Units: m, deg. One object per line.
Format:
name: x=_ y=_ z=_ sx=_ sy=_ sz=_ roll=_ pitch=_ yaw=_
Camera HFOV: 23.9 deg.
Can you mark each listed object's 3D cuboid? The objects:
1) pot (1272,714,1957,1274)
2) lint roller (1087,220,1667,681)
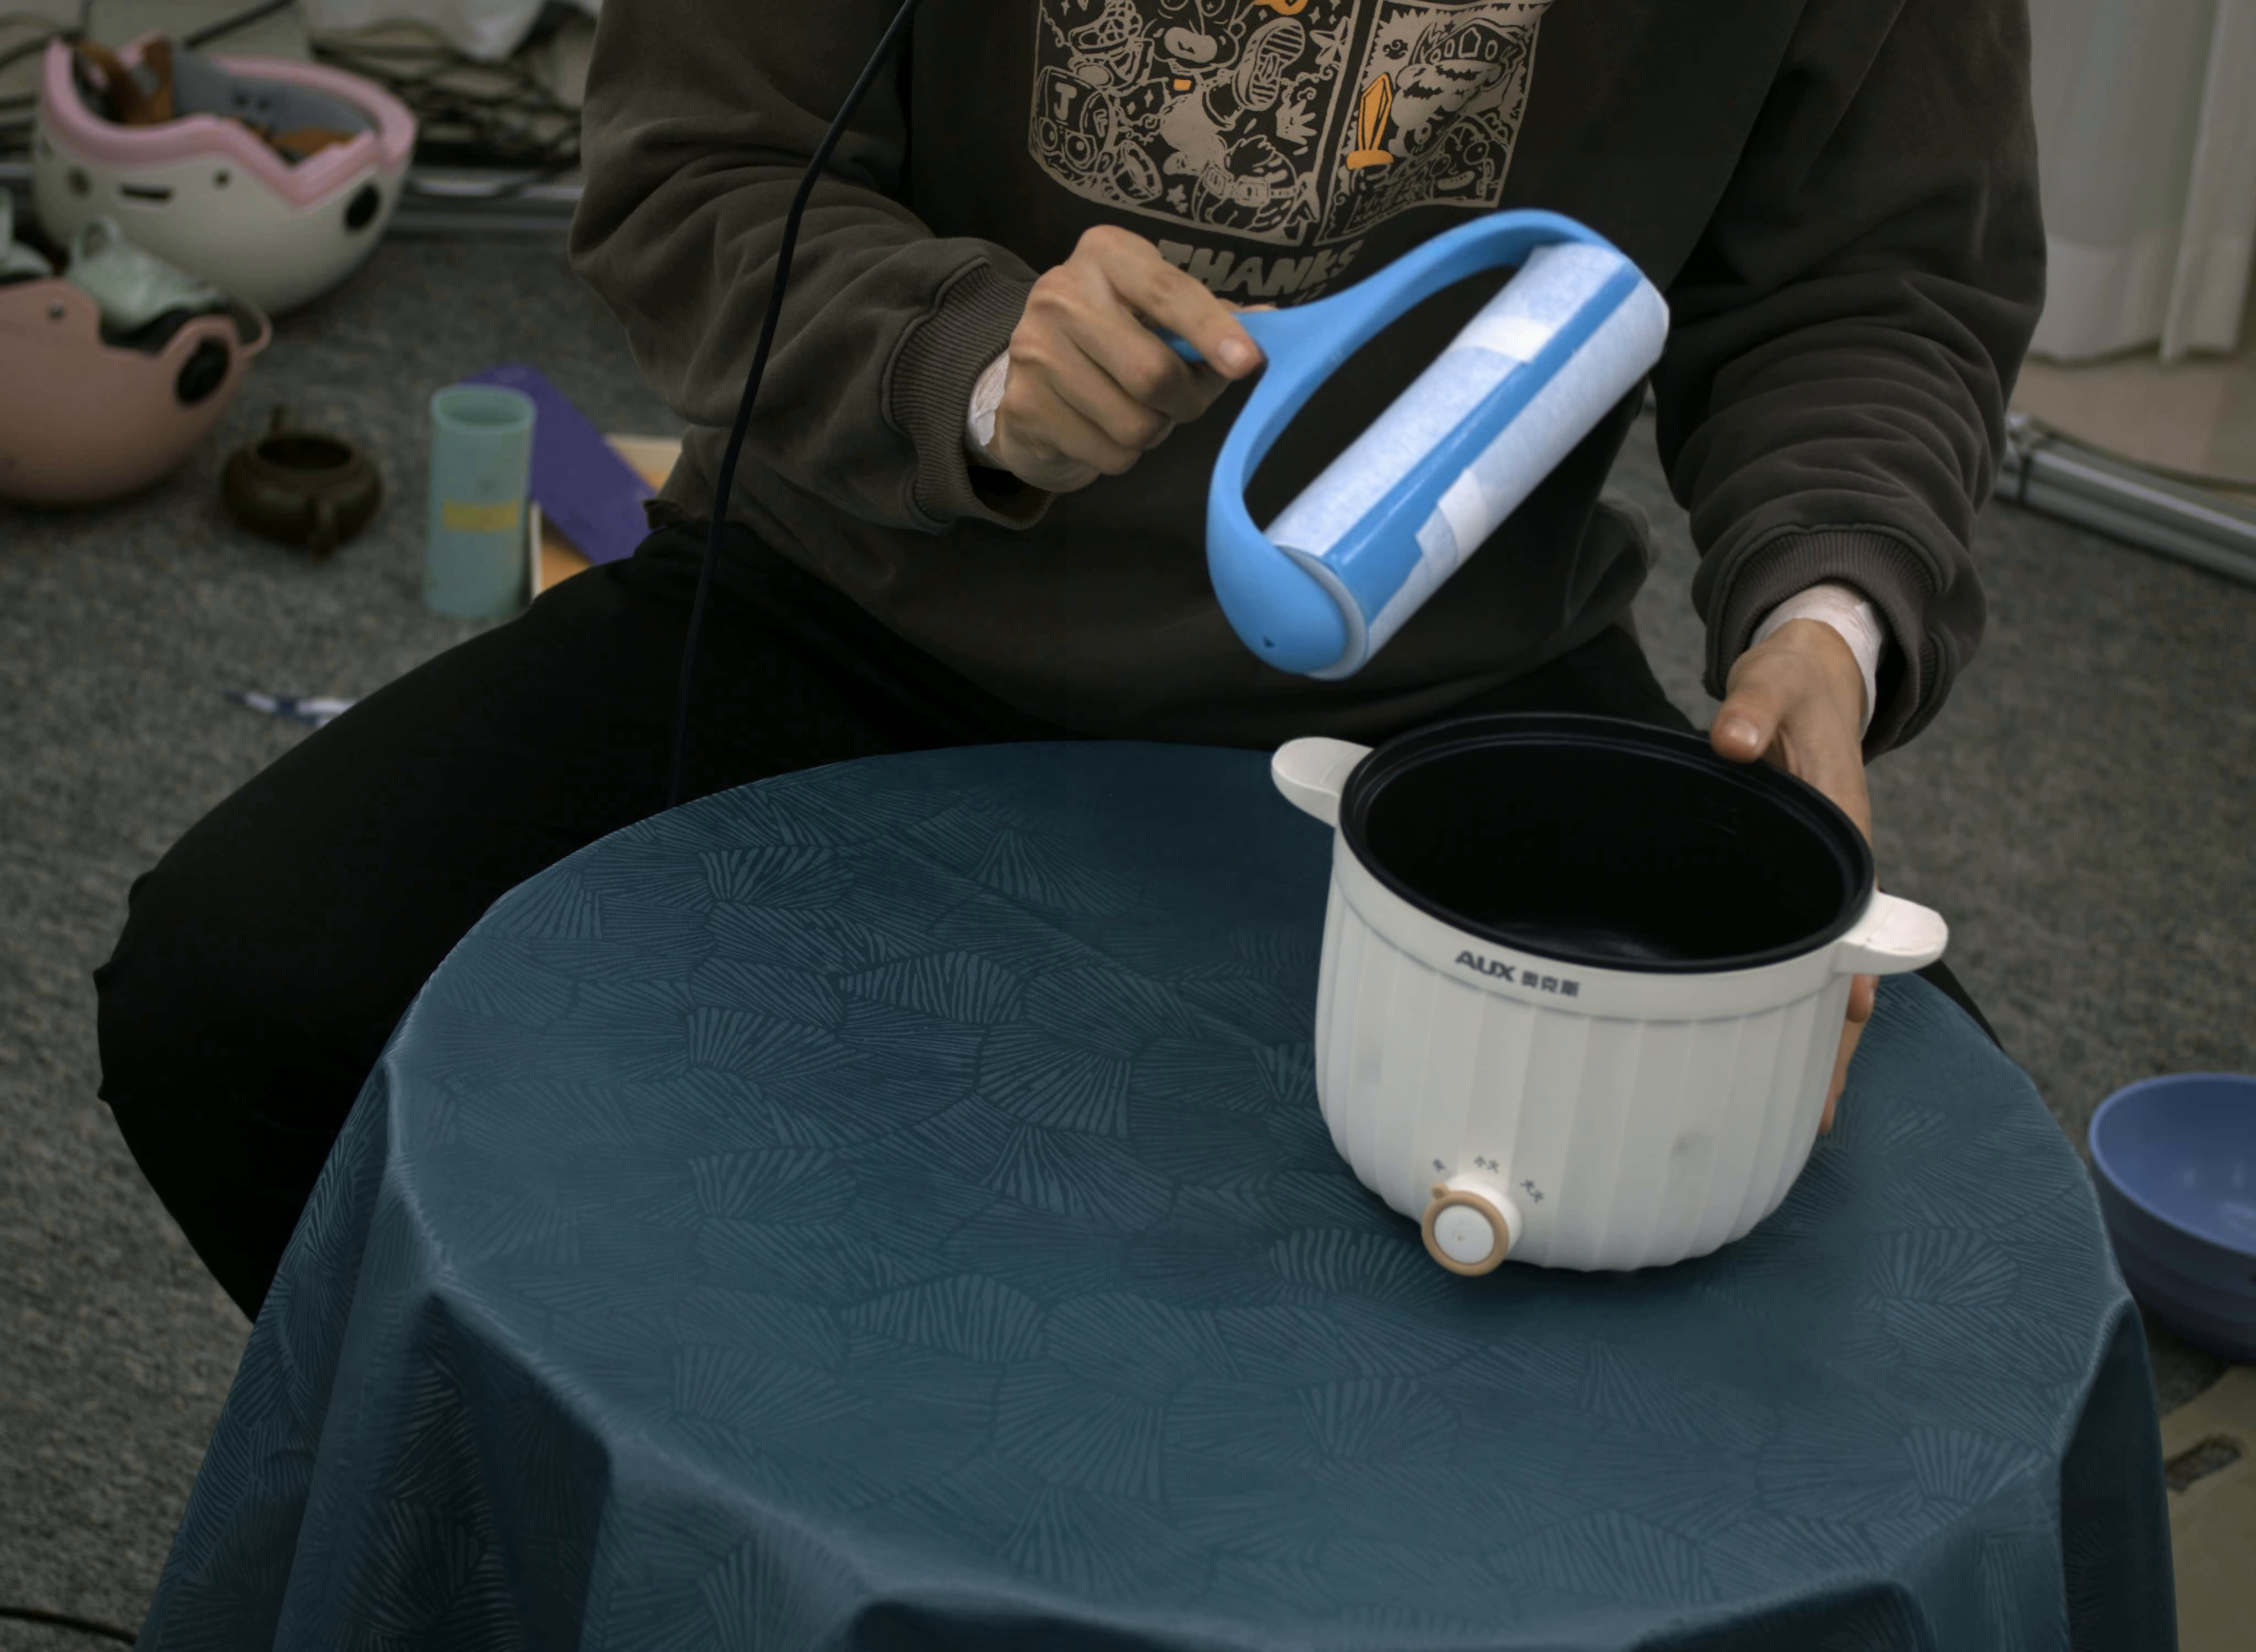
pot: x=0.153 y=0.063 z=1.805 sx=0.241 sy=0.142 sz=0.190 roll=14 pitch=24 yaw=18
lint roller: x=0.060 y=-0.142 z=1.811 sx=0.181 sy=0.067 sz=0.229 roll=20 pitch=47 yaw=26
